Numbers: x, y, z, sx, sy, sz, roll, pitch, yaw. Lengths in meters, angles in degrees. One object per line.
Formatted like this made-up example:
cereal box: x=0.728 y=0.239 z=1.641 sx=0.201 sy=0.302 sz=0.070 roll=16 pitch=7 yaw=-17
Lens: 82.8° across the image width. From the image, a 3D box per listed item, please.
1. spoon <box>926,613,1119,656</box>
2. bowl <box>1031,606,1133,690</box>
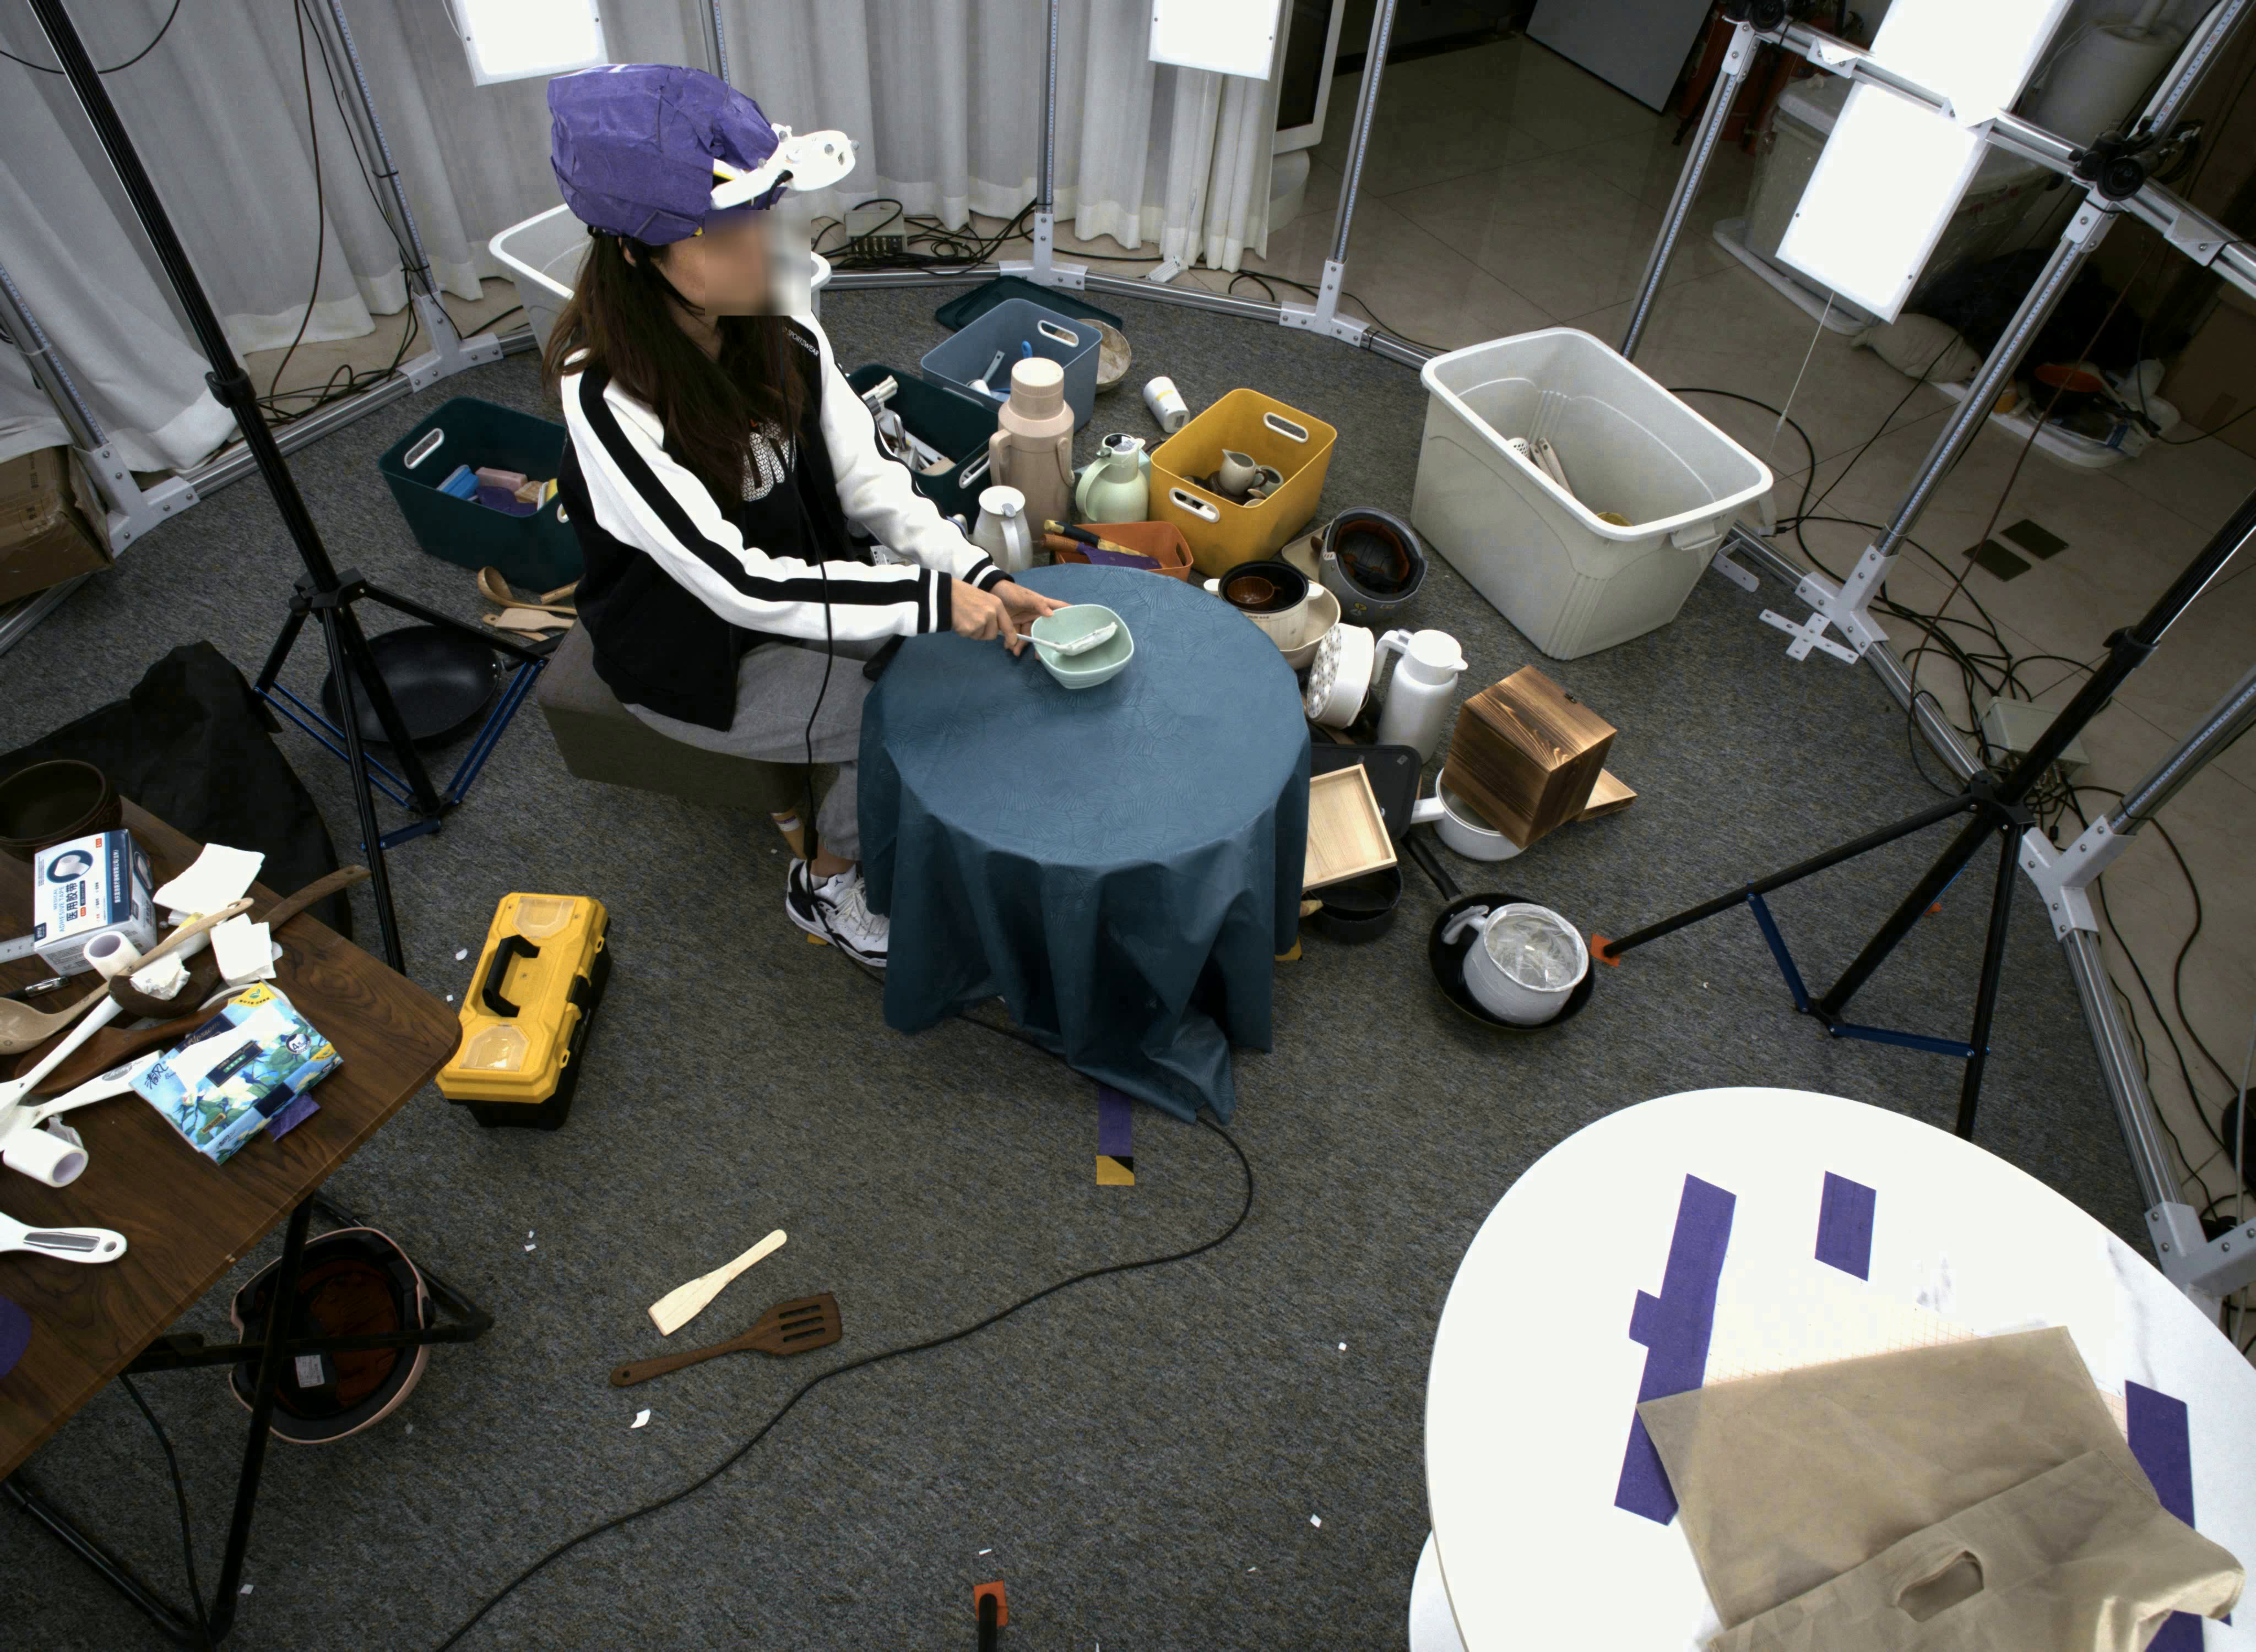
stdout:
spoon: x=-0.147 y=-0.287 z=1.815 sx=0.275 sy=0.100 sz=0.060 roll=11 pitch=74 yaw=-20
bowl: x=-0.067 y=-0.248 z=1.846 sx=0.151 sy=0.057 sz=0.155 roll=2 pitch=49 yaw=-3
